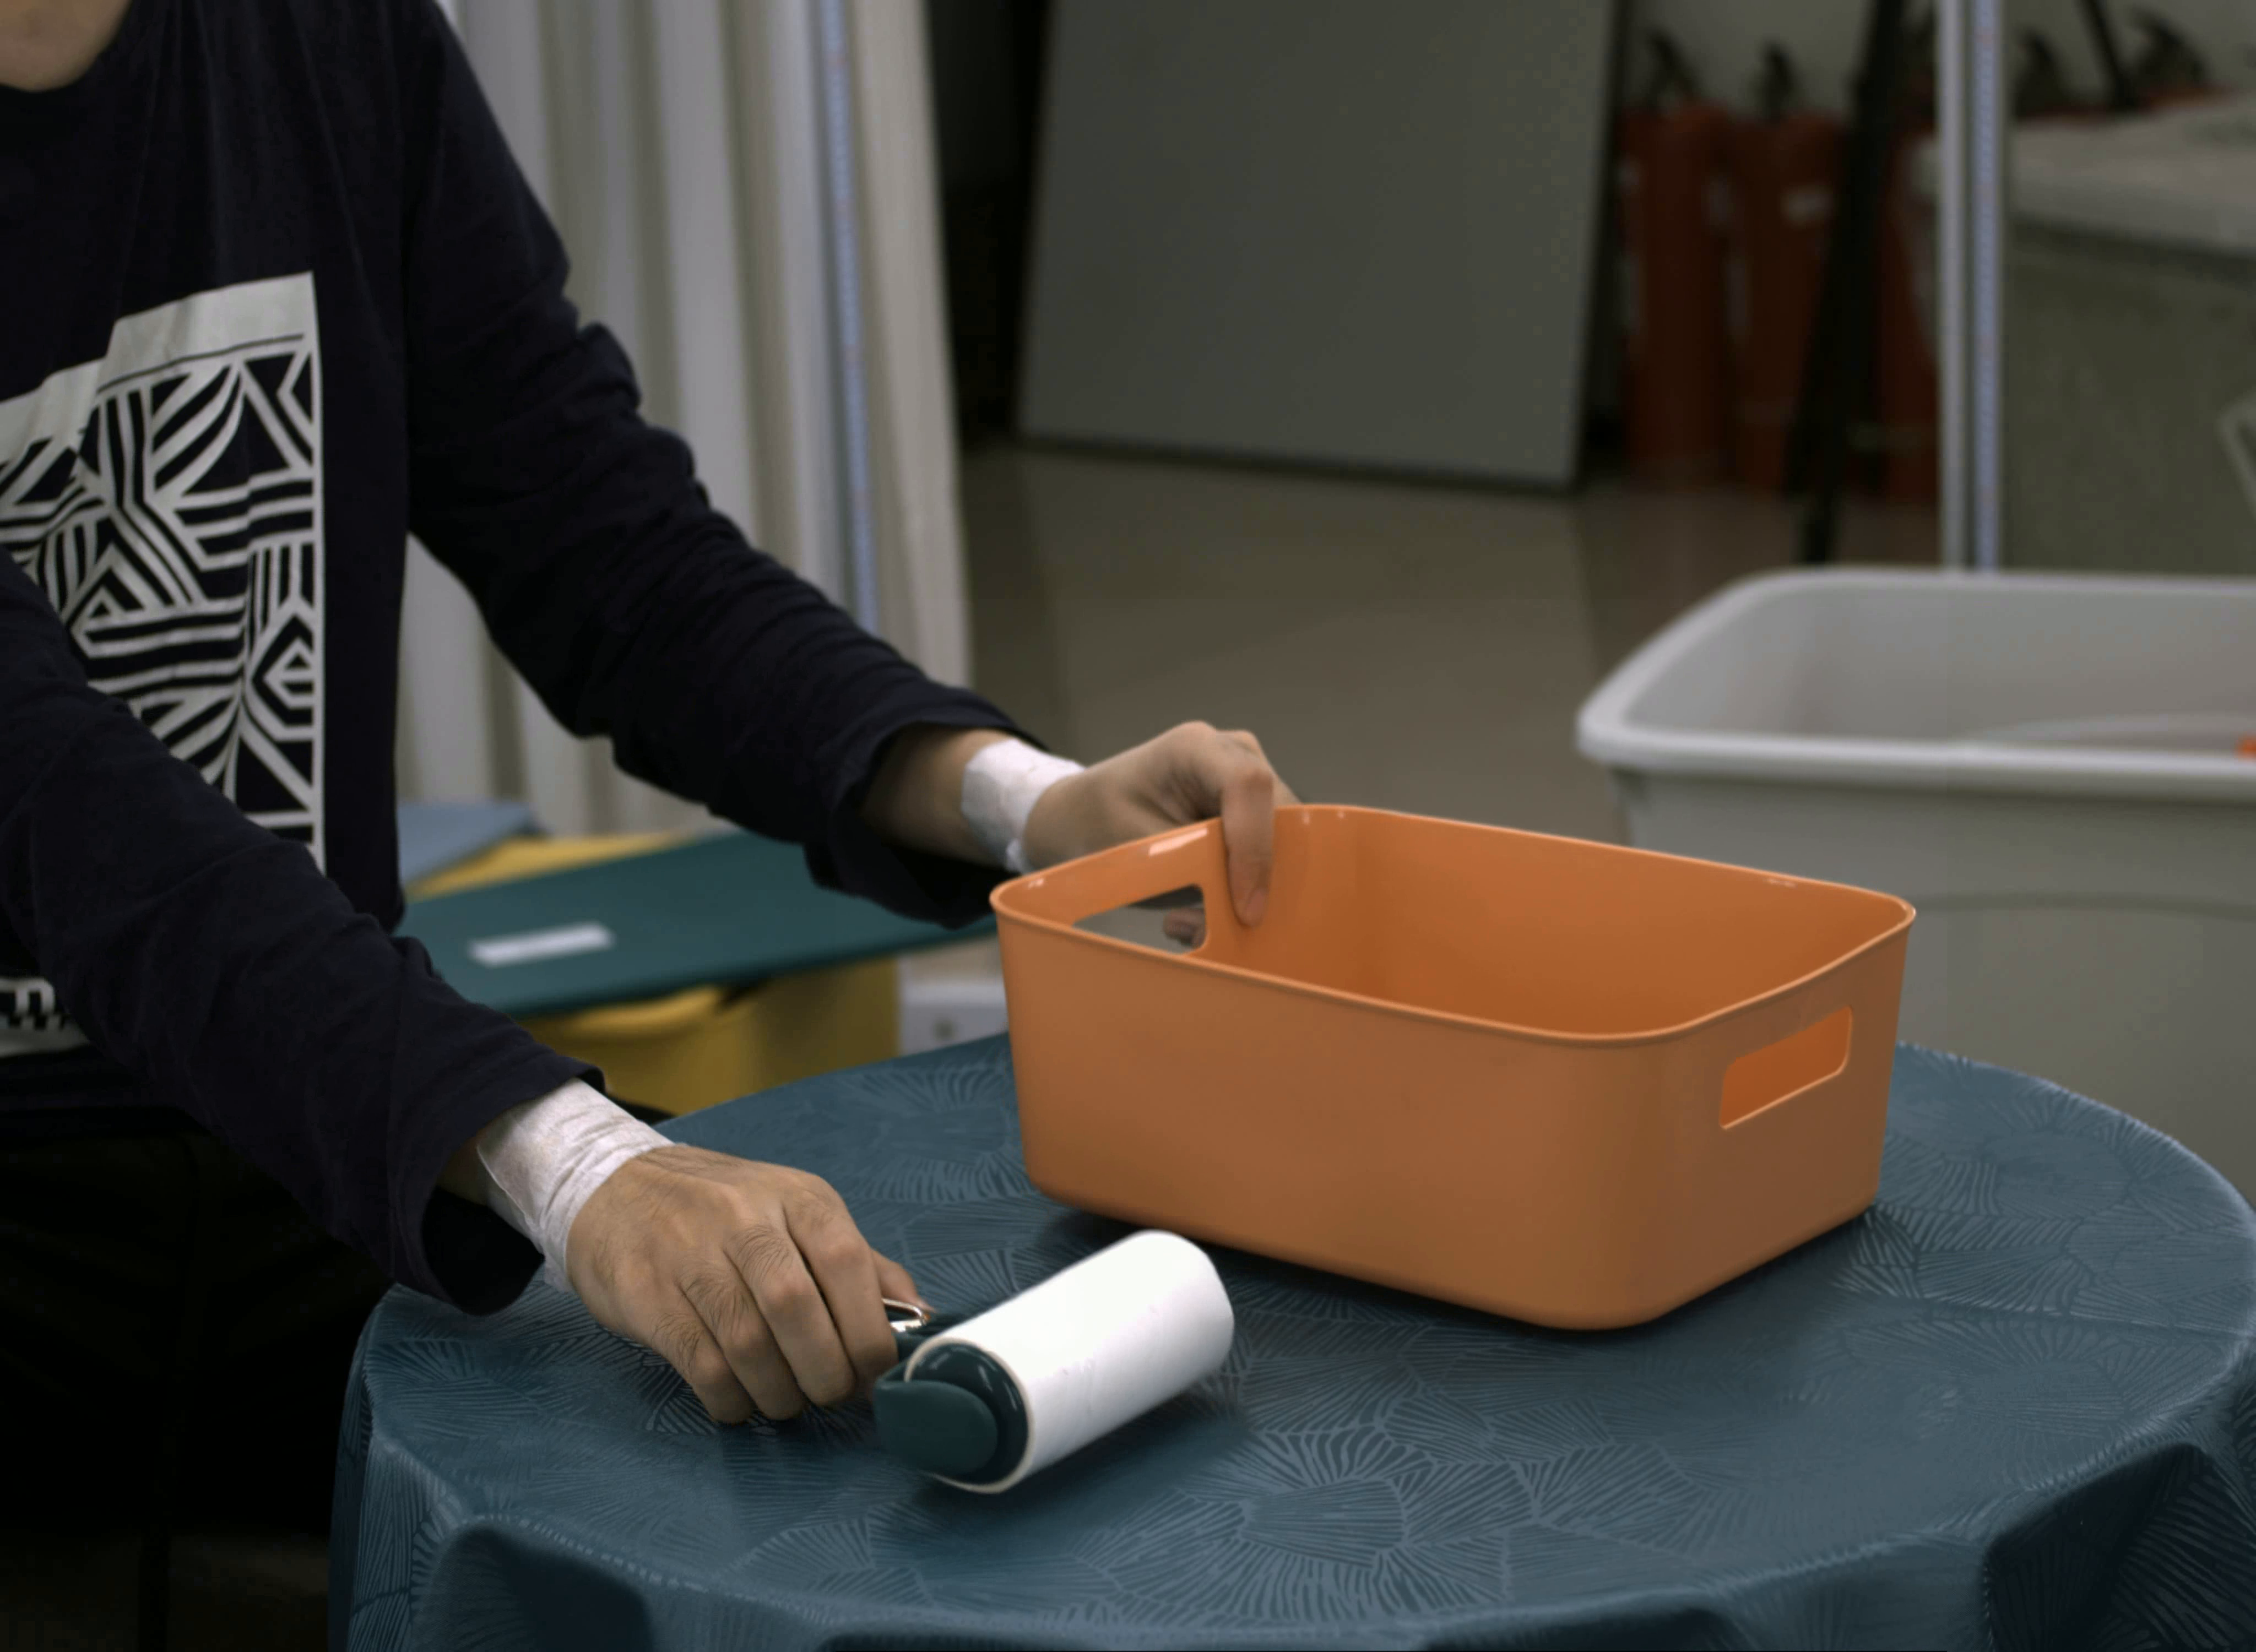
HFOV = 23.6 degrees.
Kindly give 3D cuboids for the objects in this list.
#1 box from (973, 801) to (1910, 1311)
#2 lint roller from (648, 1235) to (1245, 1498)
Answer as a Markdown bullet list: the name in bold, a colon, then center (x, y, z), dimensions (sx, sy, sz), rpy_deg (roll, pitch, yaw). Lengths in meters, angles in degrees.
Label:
- **box**: center (0.098, 0.070, 1.710), dimensions (0.275, 0.104, 0.195), rpy_deg (8, 16, 39)
- **lint roller**: center (-0.070, 0.146, 1.571), dimensions (0.181, 0.049, 0.132), rpy_deg (7, 17, 36)
